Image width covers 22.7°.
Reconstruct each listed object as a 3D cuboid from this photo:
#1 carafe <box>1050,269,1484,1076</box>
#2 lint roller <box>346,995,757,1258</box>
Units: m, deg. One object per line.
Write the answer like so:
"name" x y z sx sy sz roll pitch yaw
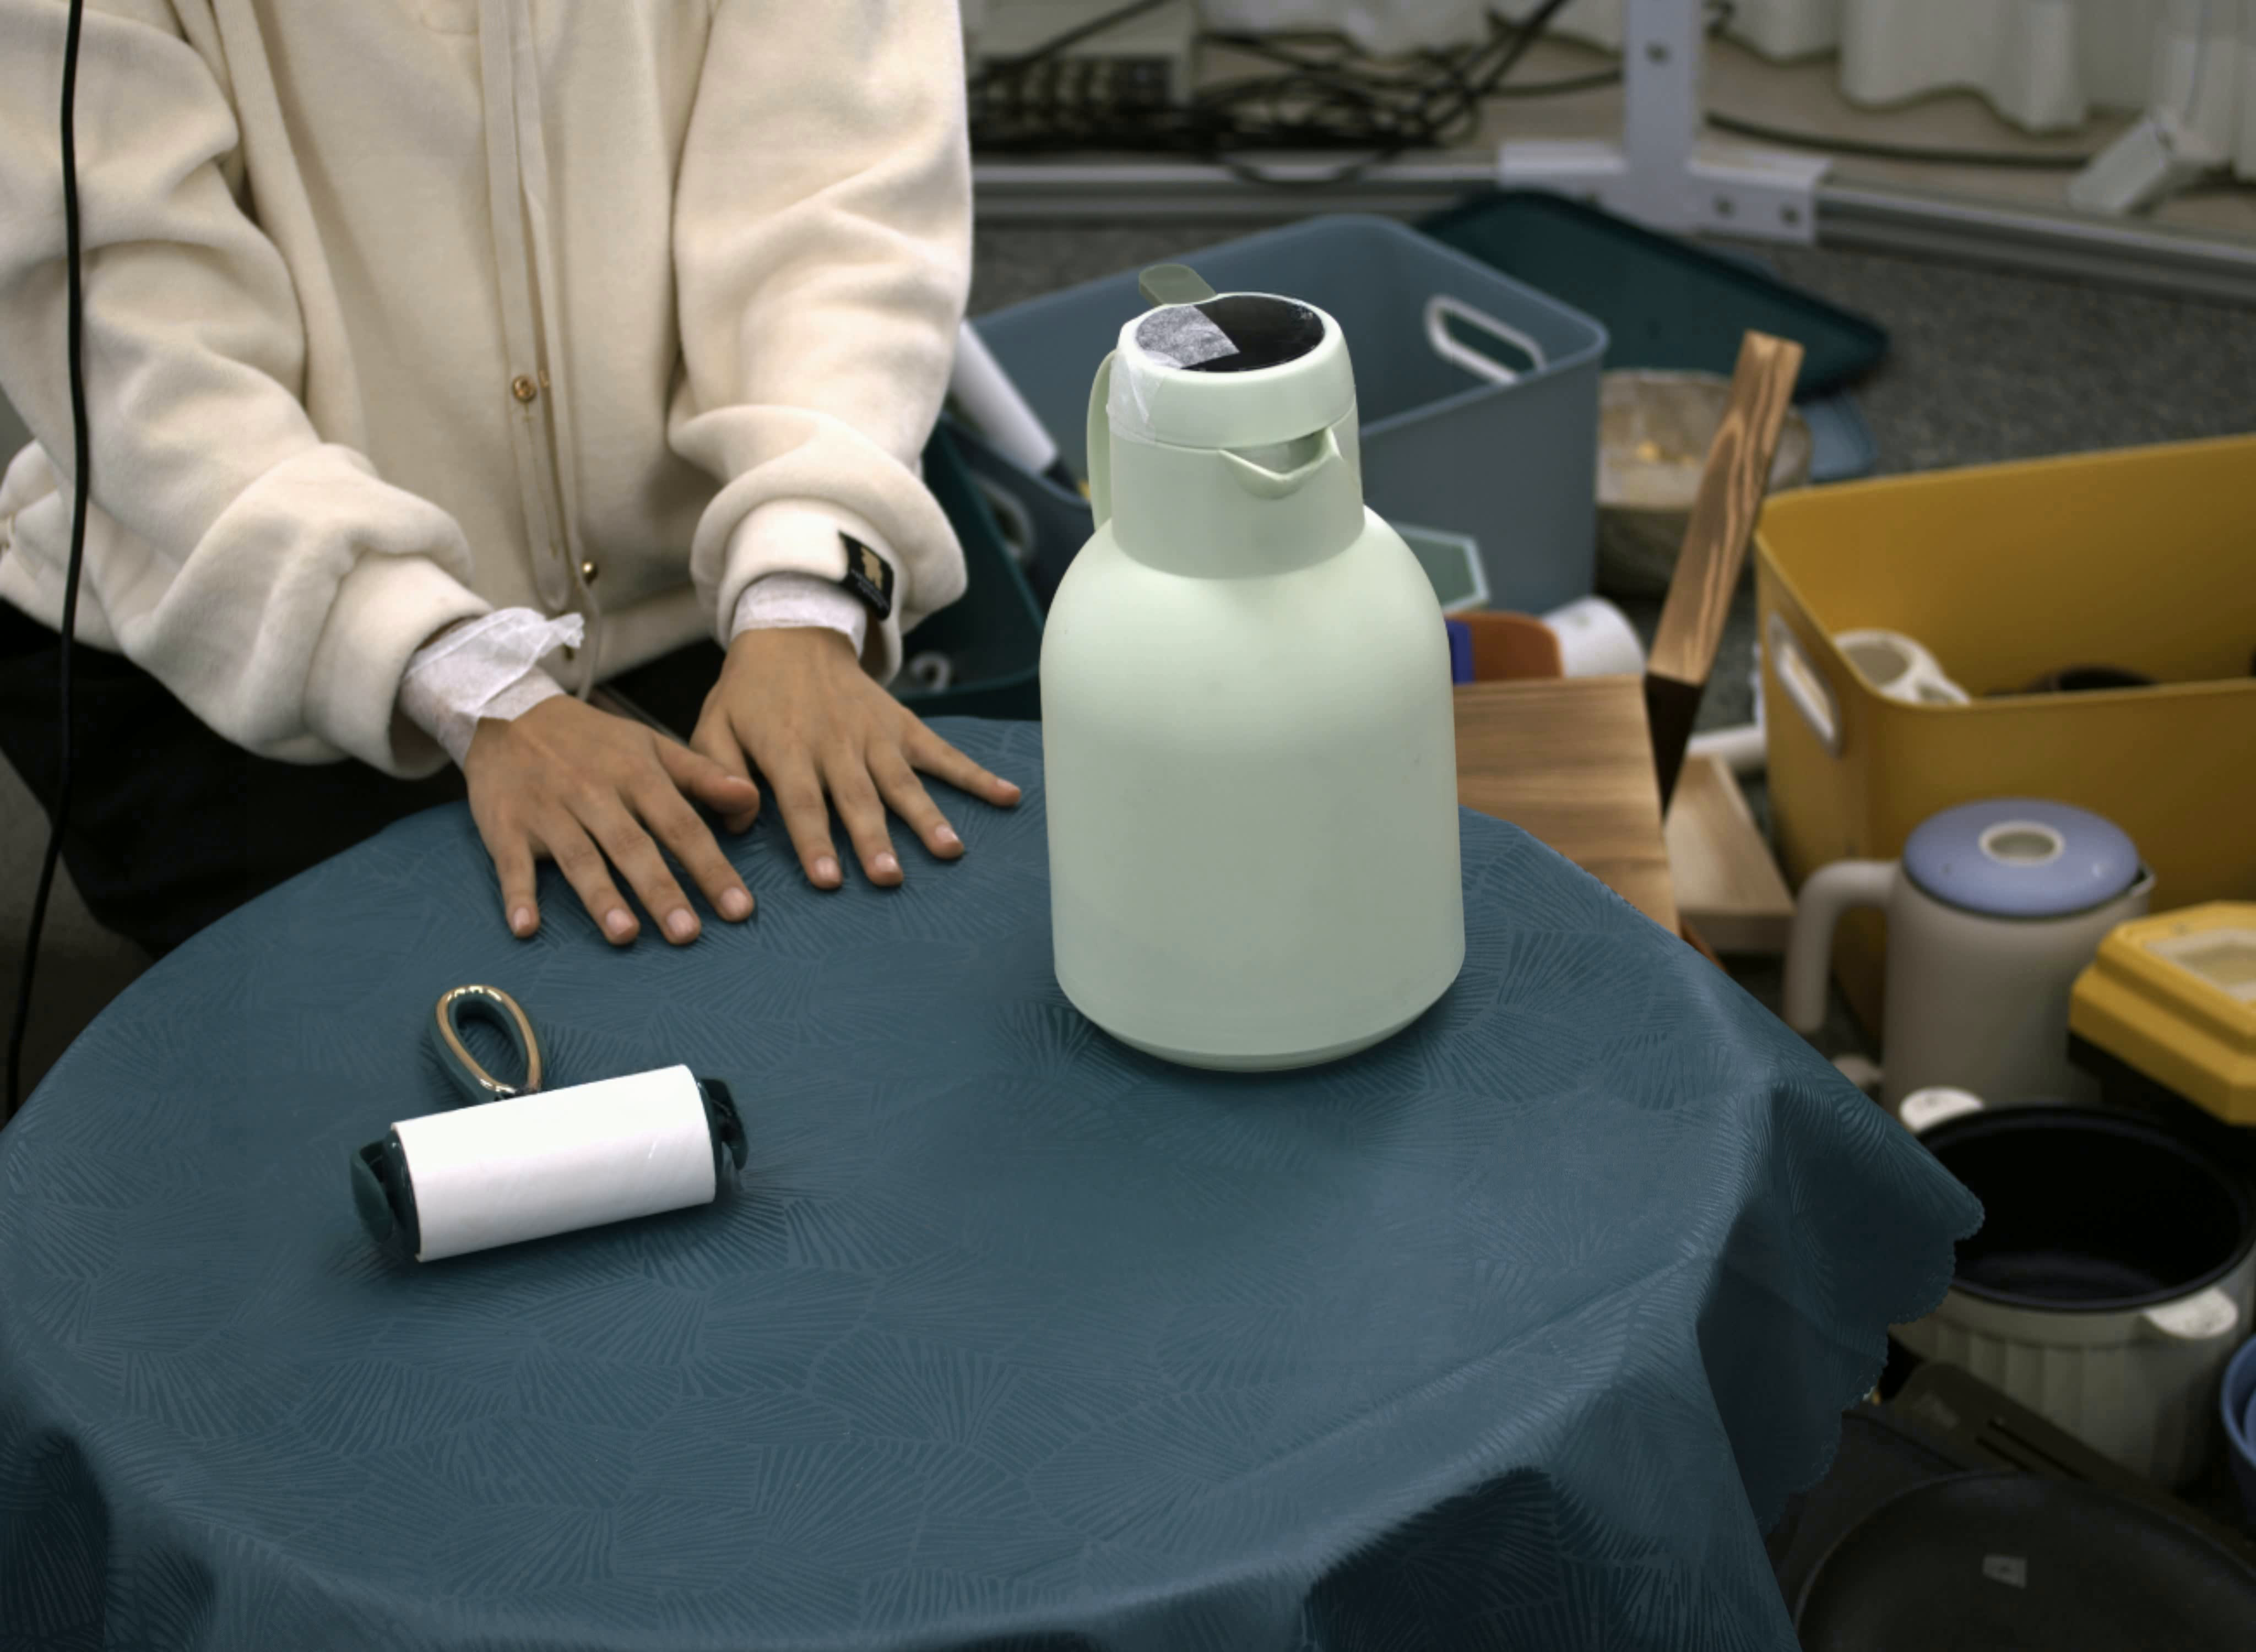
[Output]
"carafe" 0.038 -0.059 1.939 0.144 0.254 0.188 -14 24 -16
"lint roller" -0.209 0.082 1.907 0.134 0.048 0.182 -10 28 -15
